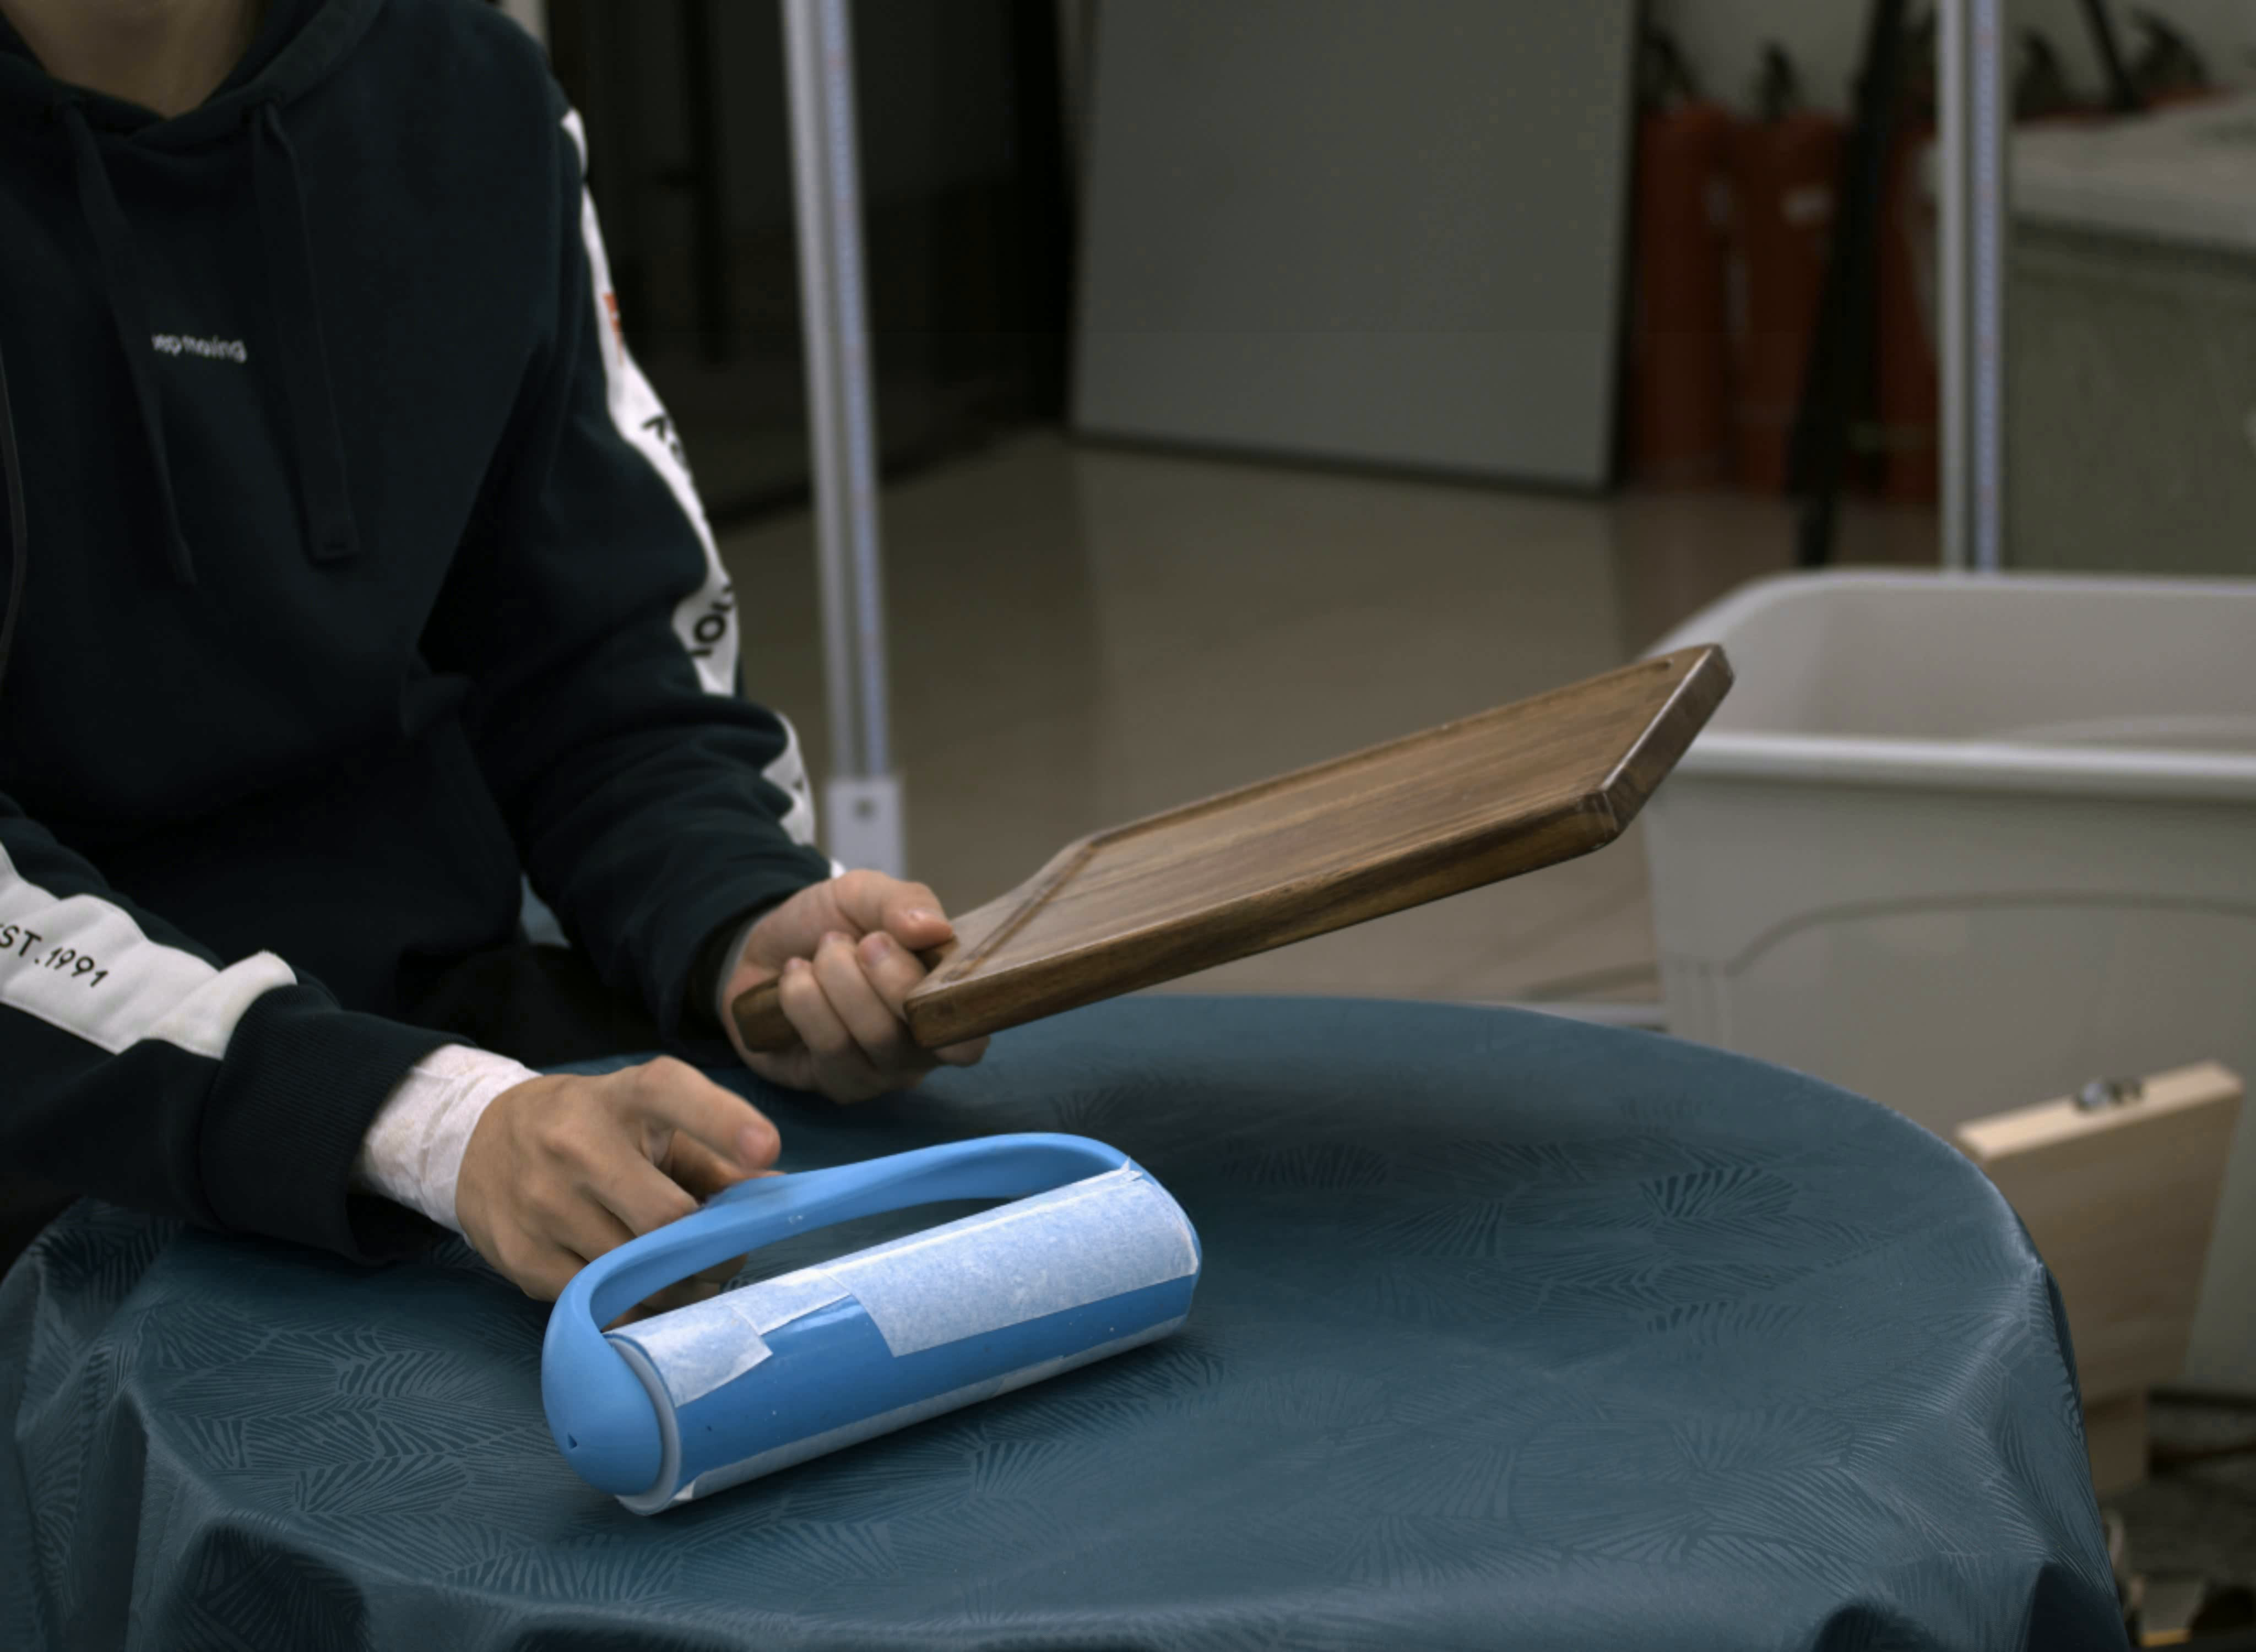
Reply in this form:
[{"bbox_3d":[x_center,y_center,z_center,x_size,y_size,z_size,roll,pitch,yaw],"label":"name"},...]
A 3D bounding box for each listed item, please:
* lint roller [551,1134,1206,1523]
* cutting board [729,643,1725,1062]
[{"bbox_3d":[-0.107,0.139,1.611,0.224,0.068,0.182,-18,21,-40],"label":"lint roller"},{"bbox_3d":[0.022,0.019,1.801,0.352,0.023,0.199,-18,8,22],"label":"cutting board"}]
